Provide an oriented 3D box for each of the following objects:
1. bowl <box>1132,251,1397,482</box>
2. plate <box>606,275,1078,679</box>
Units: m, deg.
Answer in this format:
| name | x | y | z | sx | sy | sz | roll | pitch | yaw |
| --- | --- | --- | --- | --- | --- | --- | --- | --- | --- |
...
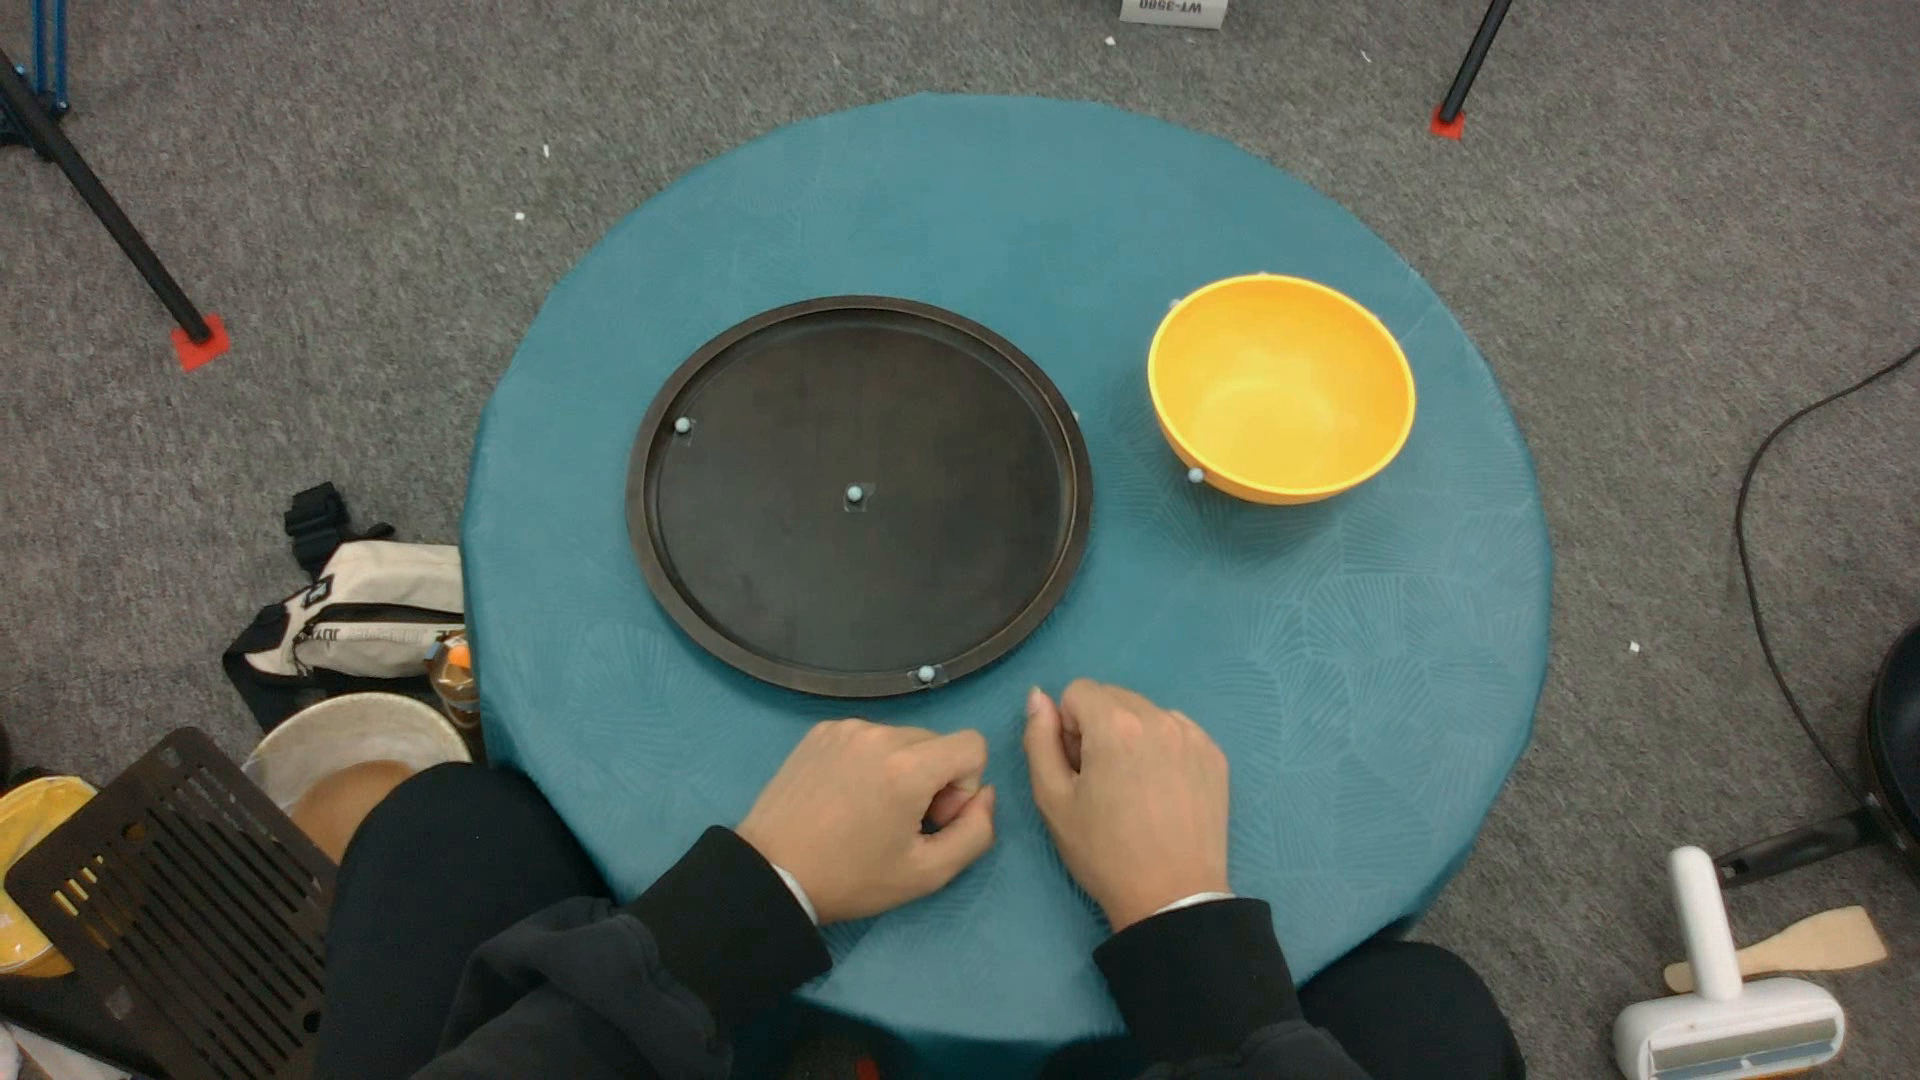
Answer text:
| name | x | y | z | sx | sy | sz | roll | pitch | yaw |
| --- | --- | --- | --- | --- | --- | --- | --- | --- | --- |
| bowl | 0.165 | -0.087 | 0.773 | 0.145 | 0.060 | 0.146 | 1 | 63 | -3 |
| plate | -0.062 | -0.040 | 0.748 | 0.255 | 0.029 | 0.256 | 3 | 62 | -5 |
